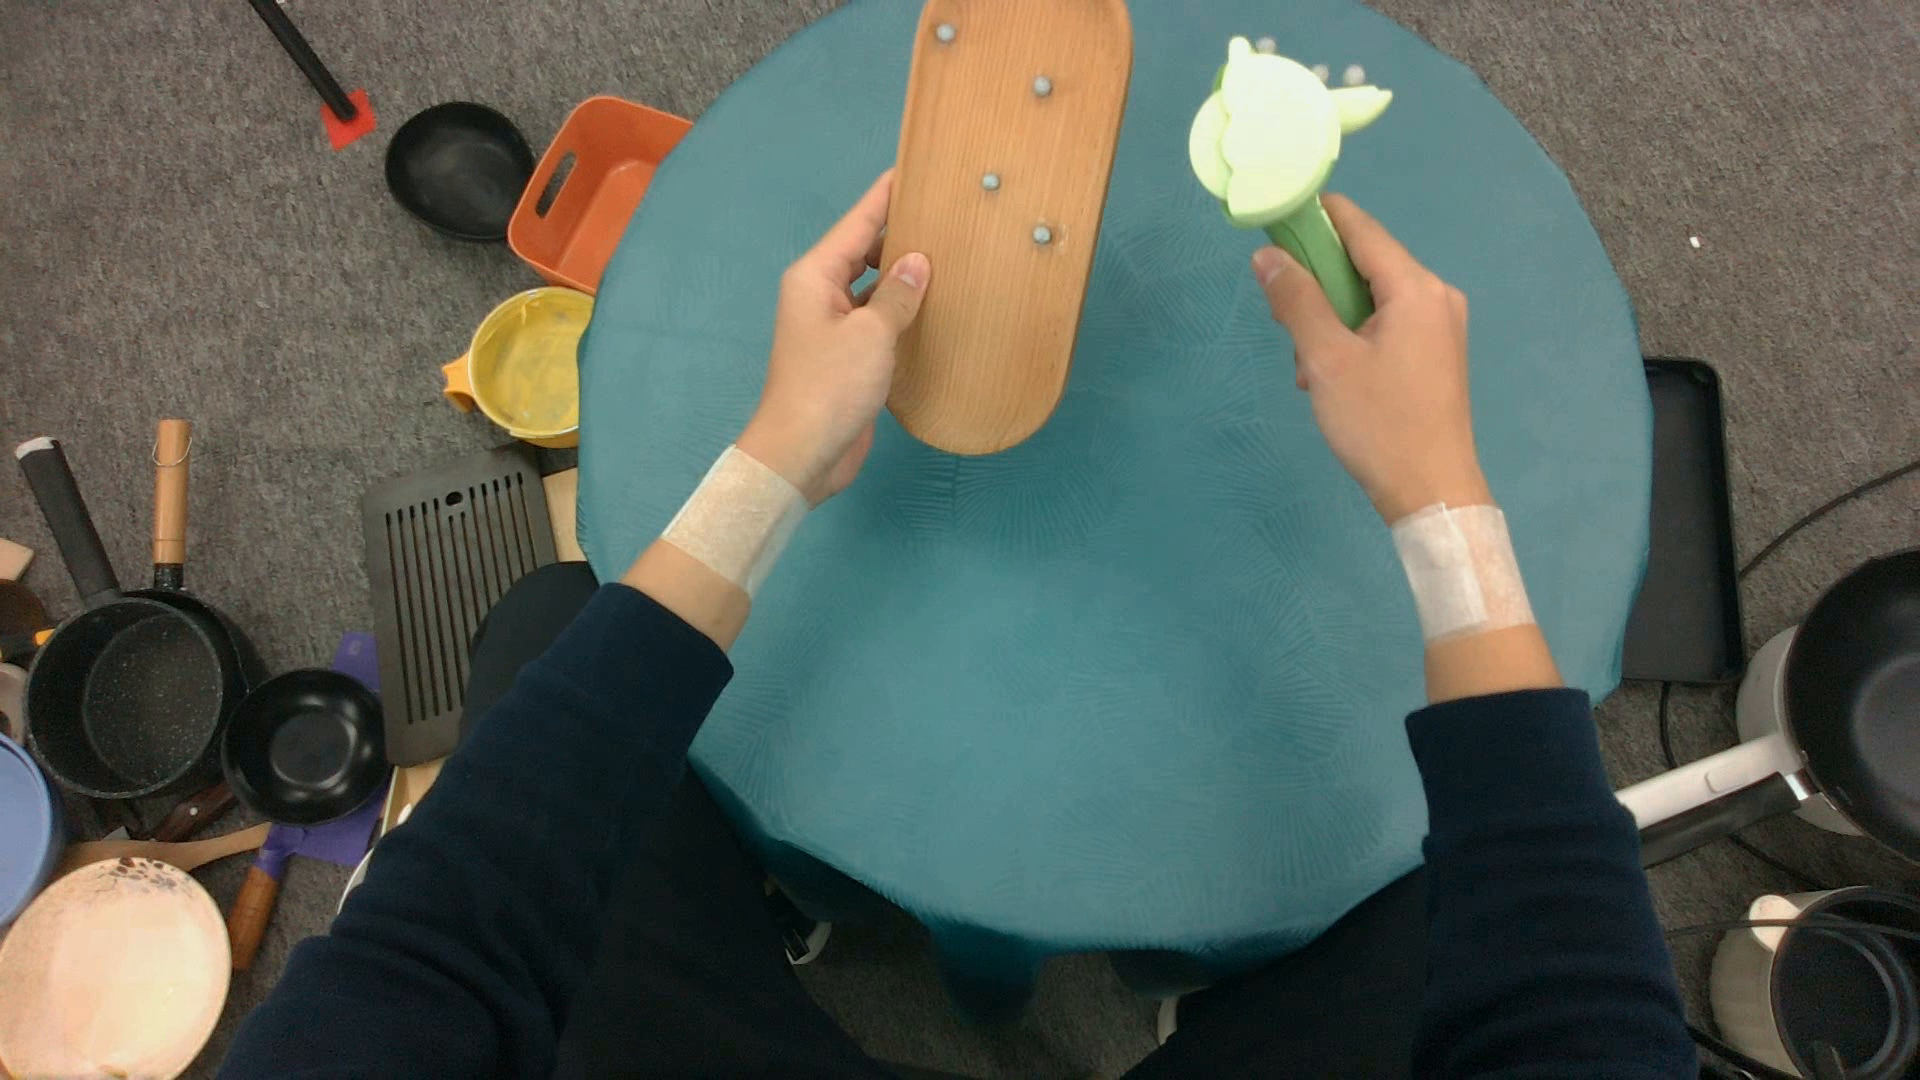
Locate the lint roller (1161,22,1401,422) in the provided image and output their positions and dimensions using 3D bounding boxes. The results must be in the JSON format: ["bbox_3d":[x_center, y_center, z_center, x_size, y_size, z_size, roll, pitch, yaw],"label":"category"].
[{"bbox_3d":[0.160,-0.143,0.595,0.082,0.199,0.183,-35,97,21],"label":"lint roller"}]

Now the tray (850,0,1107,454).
[{"bbox_3d":[0.007,-0.153,0.634,0.101,0.020,0.230,14,108,15],"label":"tray"}]
